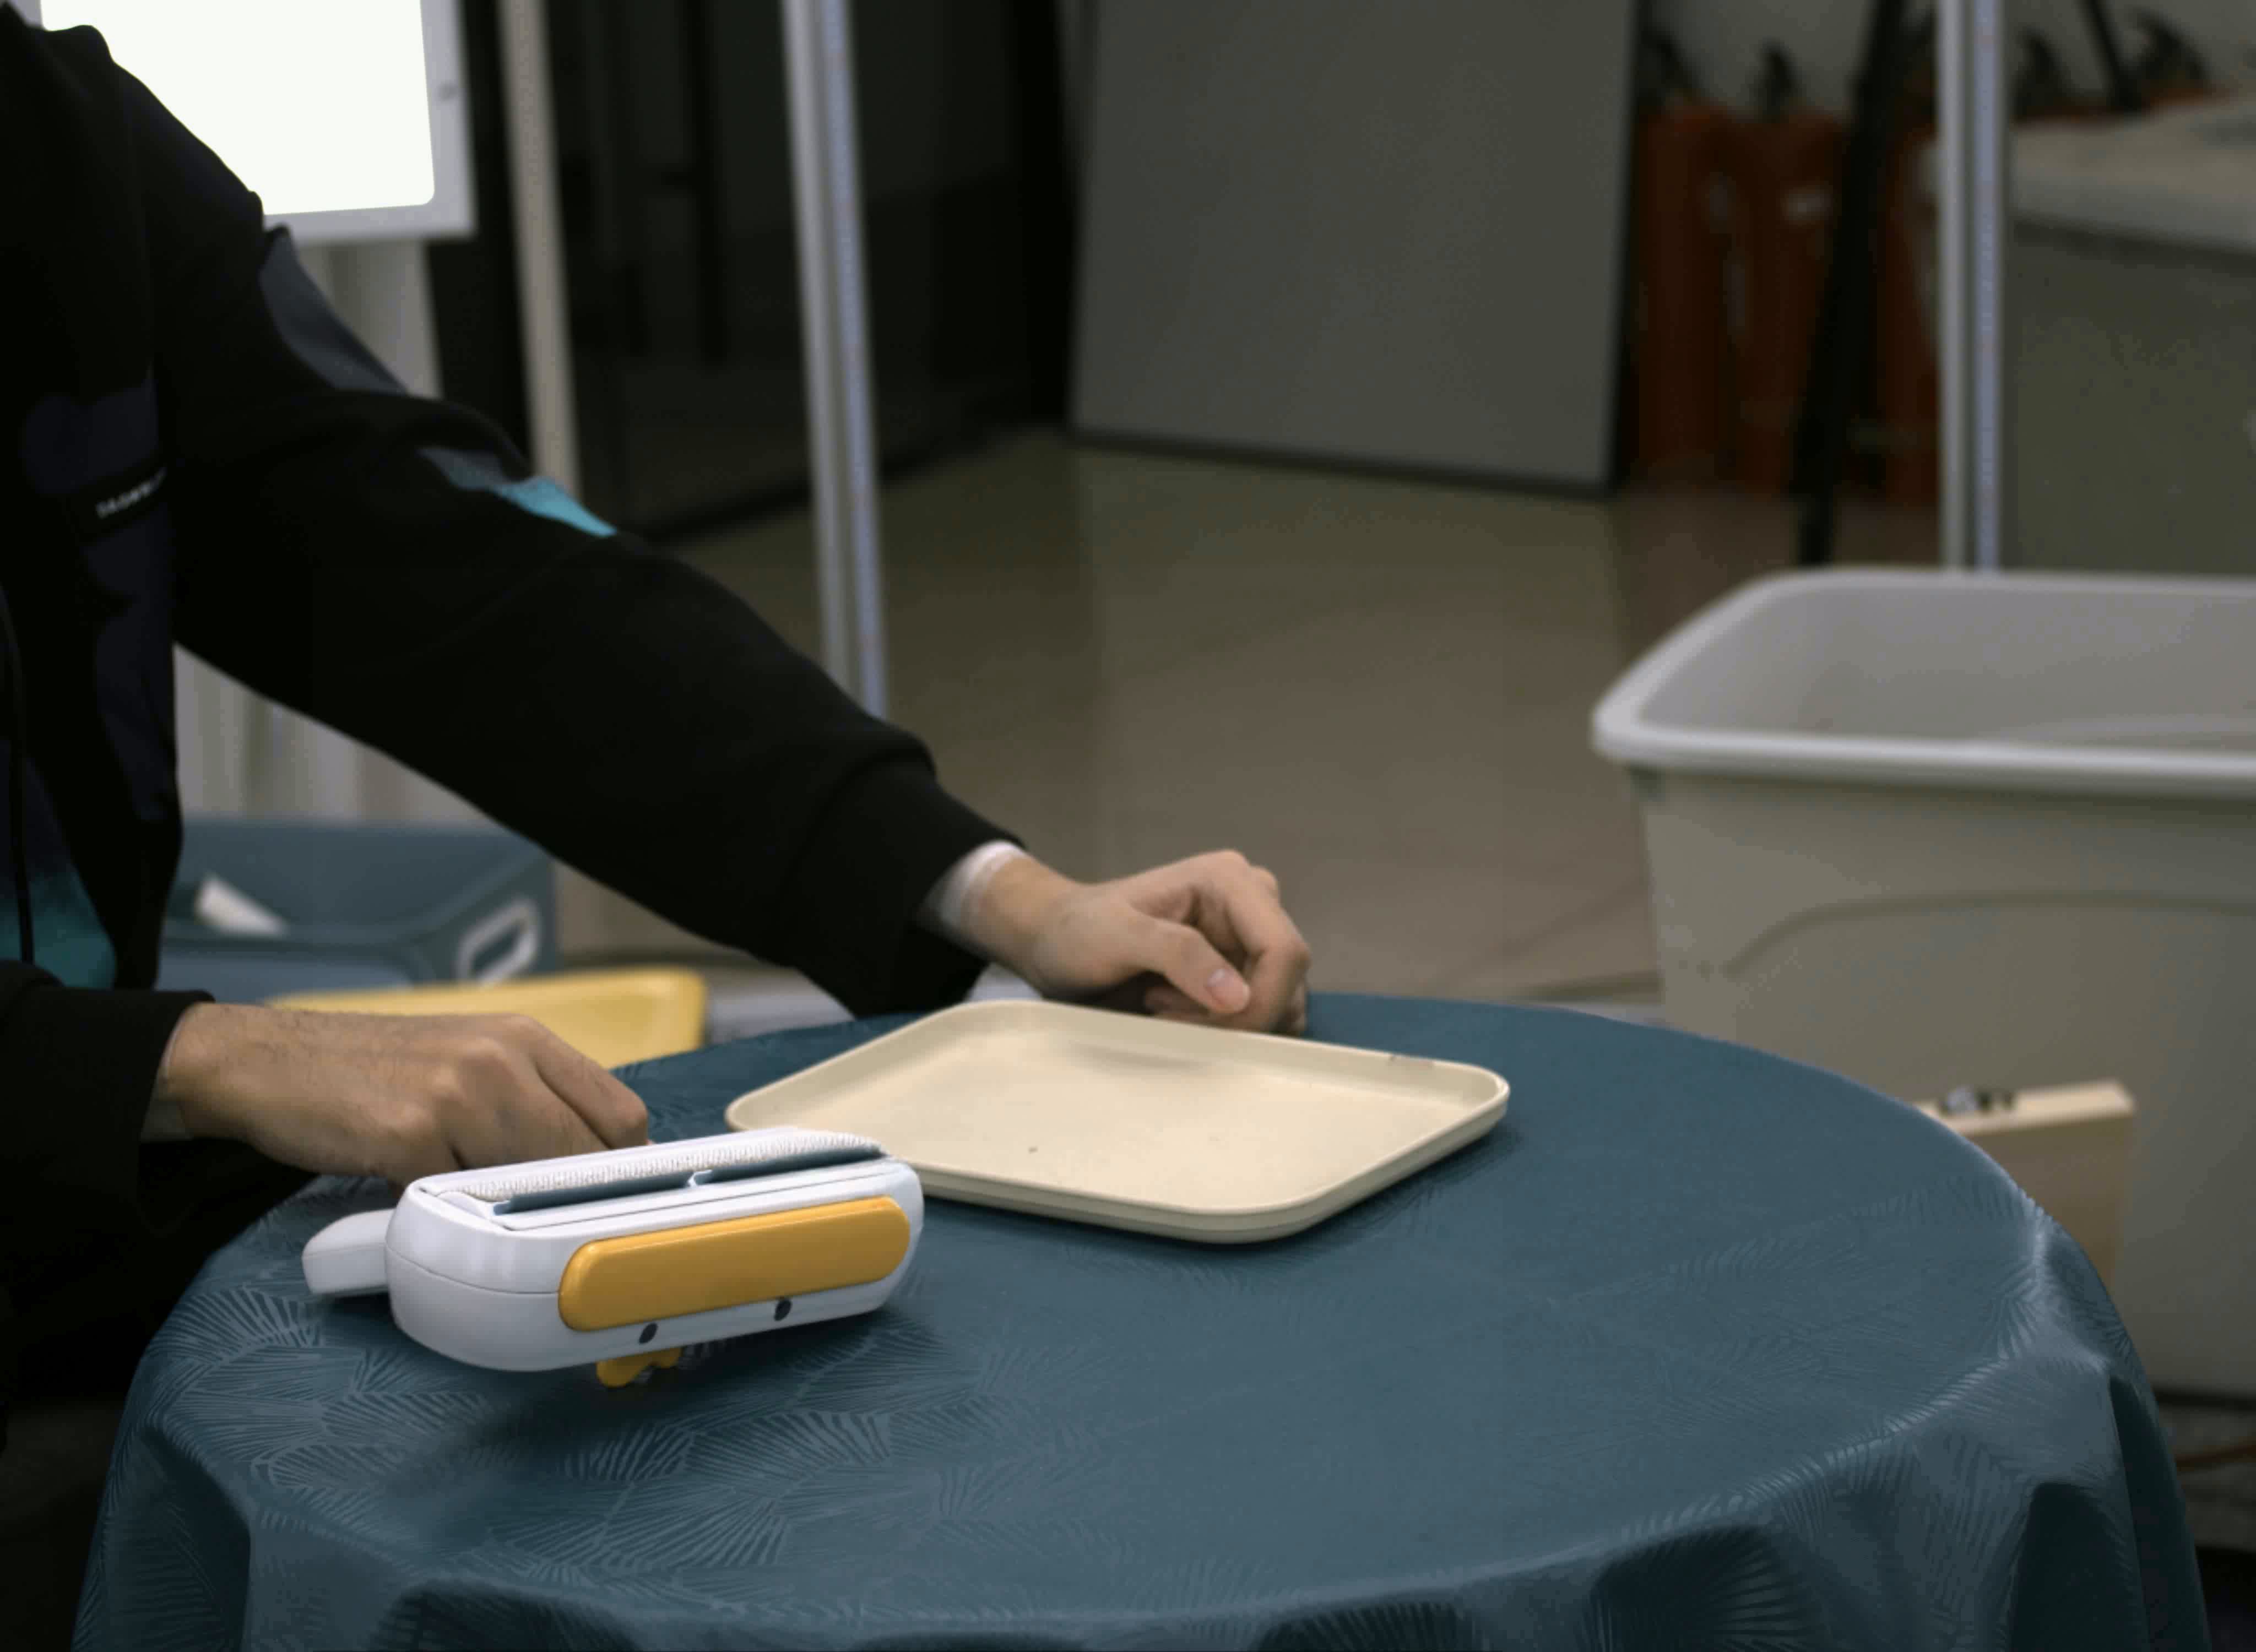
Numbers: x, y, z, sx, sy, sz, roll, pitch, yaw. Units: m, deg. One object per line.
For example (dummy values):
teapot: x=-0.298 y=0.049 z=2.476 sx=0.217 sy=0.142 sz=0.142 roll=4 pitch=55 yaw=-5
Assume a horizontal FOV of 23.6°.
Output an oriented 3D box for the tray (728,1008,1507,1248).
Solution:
tray: x=-0.004 y=0.101 z=1.818 sx=0.241 sy=0.017 sz=0.168 roll=6 pitch=18 yaw=37

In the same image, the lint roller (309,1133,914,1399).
lint roller: x=-0.185 y=0.128 z=1.658 sx=0.188 sy=0.075 sz=0.194 roll=-10 pitch=12 yaw=-43
